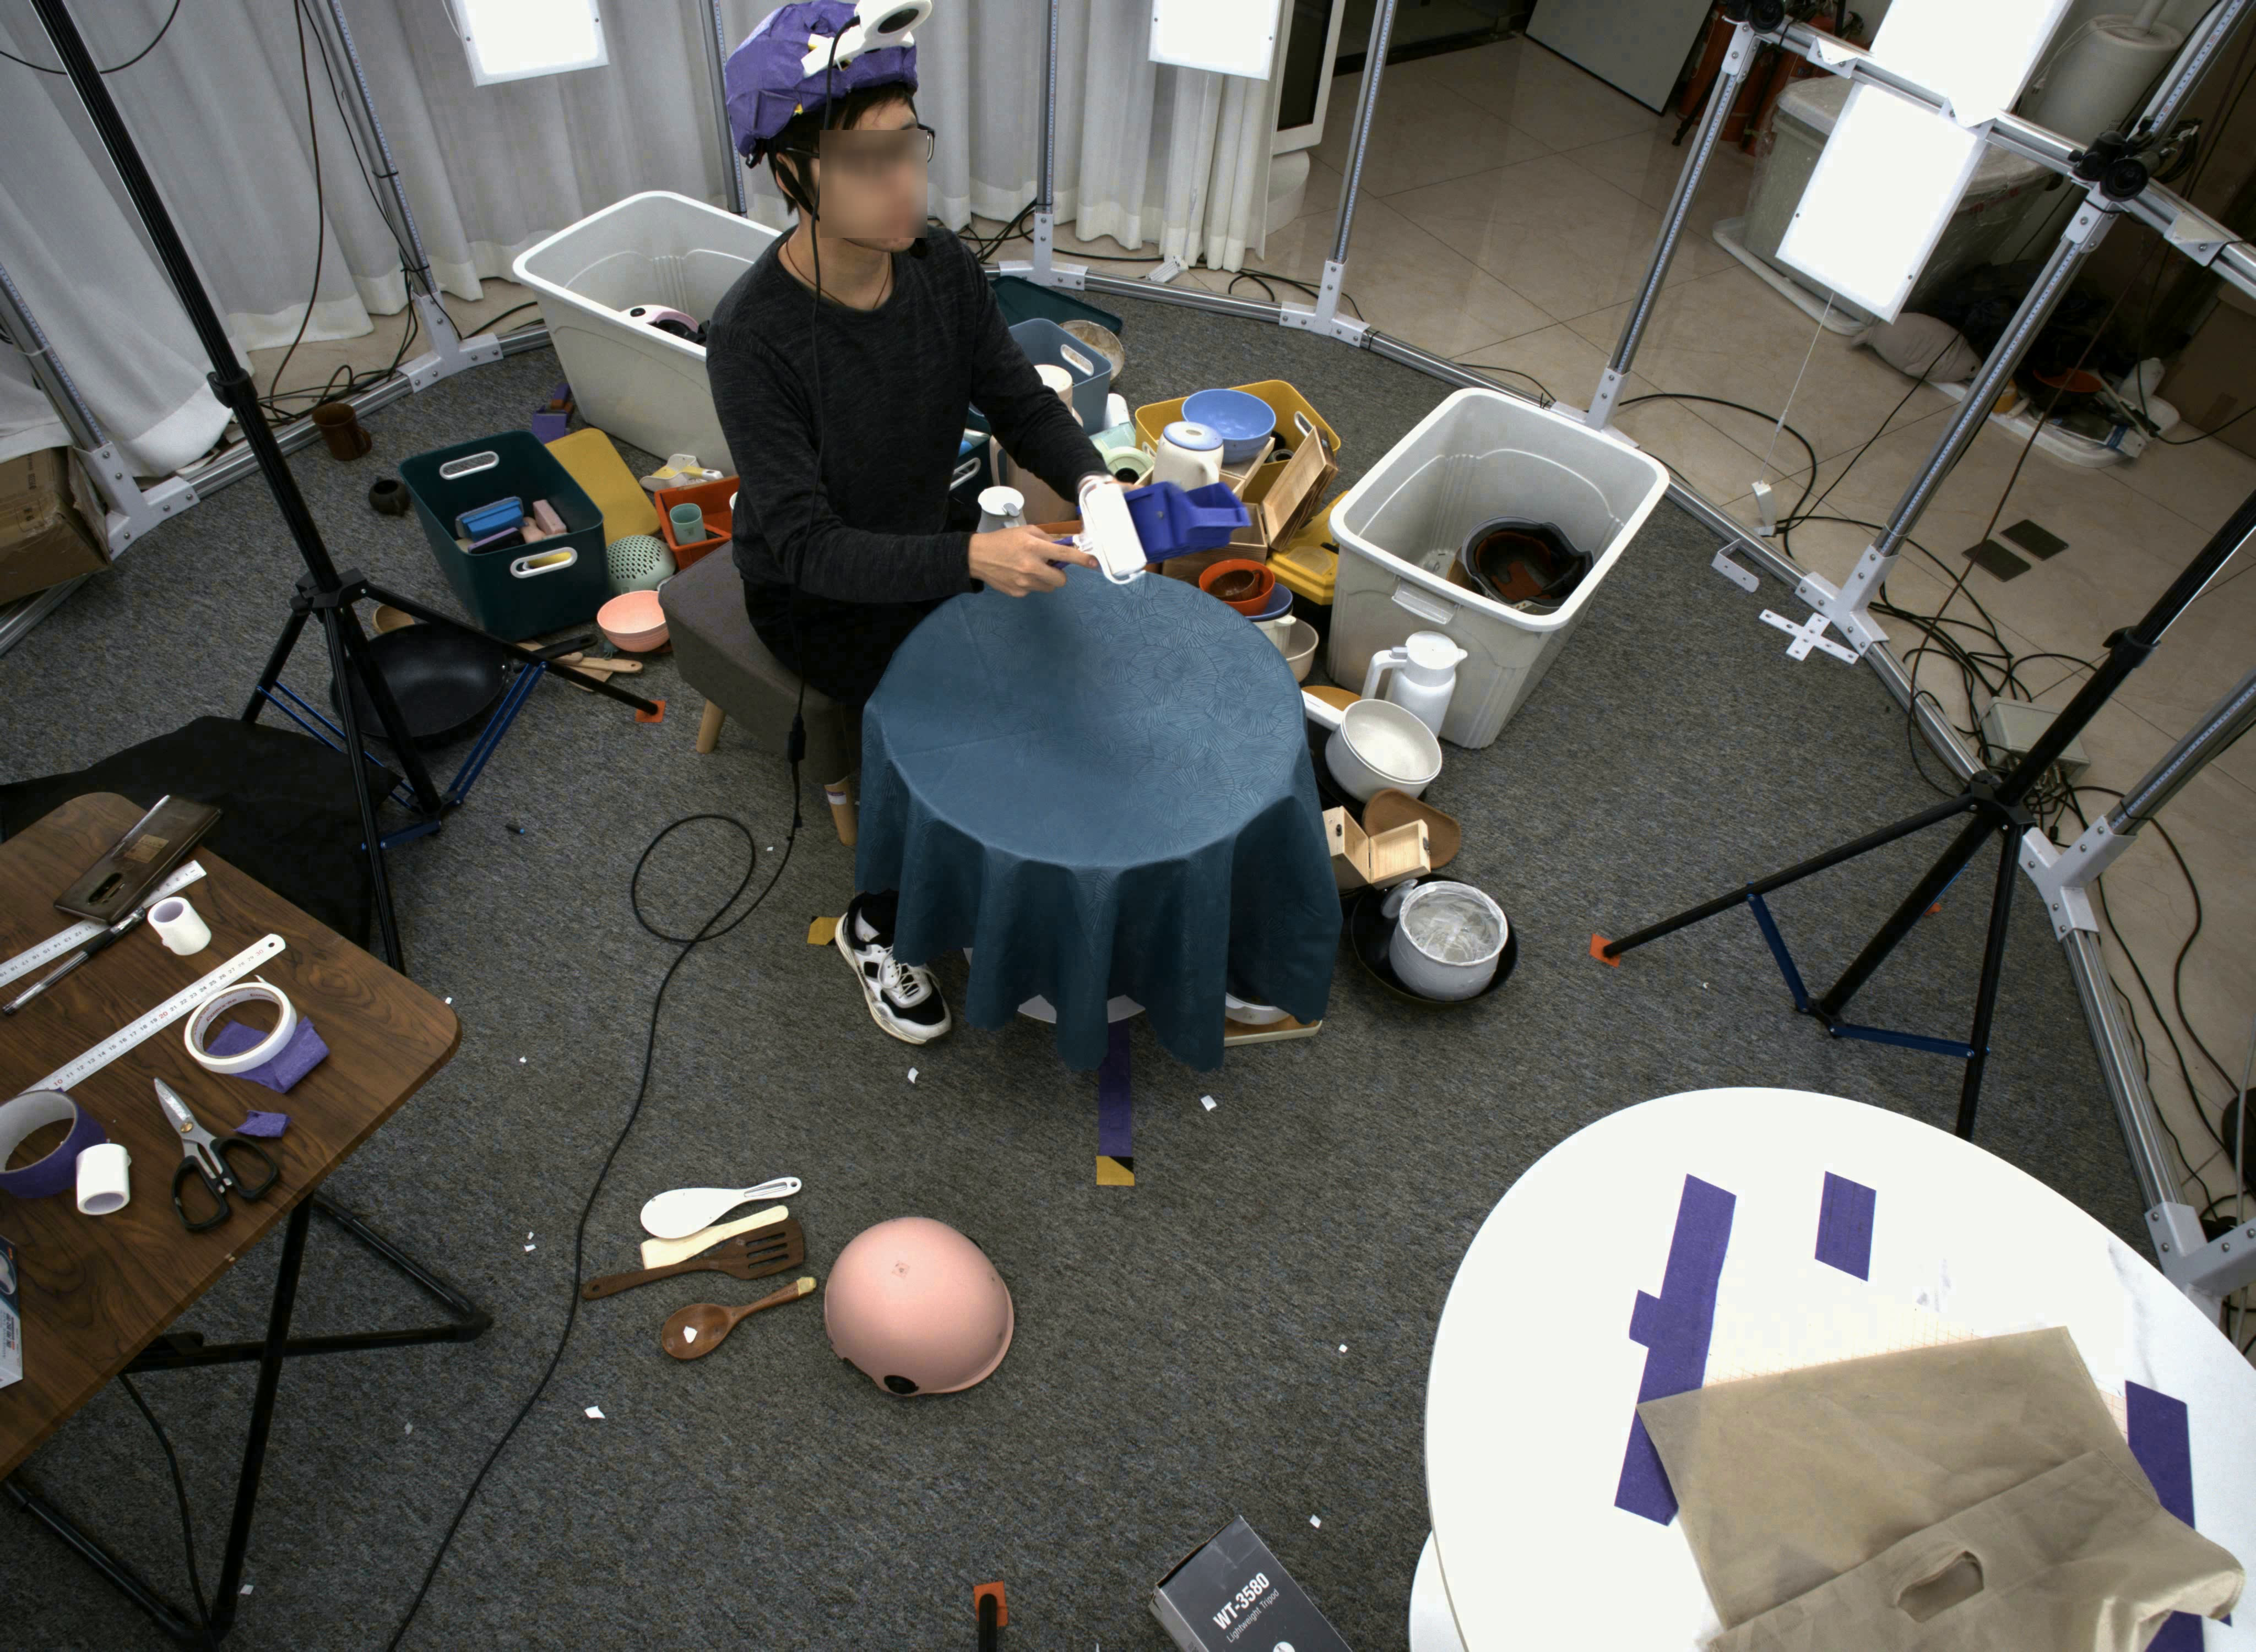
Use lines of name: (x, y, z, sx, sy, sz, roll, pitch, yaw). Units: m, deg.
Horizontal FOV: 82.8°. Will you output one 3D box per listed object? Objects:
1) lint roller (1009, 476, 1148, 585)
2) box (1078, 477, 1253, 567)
lint roller: (-0.074, -0.344, 1.590, 0.180, 0.132, 0.050, -17, 7, 18)
box: (0.049, -0.381, 1.614, 0.179, 0.082, 0.124, -8, 4, 43)
